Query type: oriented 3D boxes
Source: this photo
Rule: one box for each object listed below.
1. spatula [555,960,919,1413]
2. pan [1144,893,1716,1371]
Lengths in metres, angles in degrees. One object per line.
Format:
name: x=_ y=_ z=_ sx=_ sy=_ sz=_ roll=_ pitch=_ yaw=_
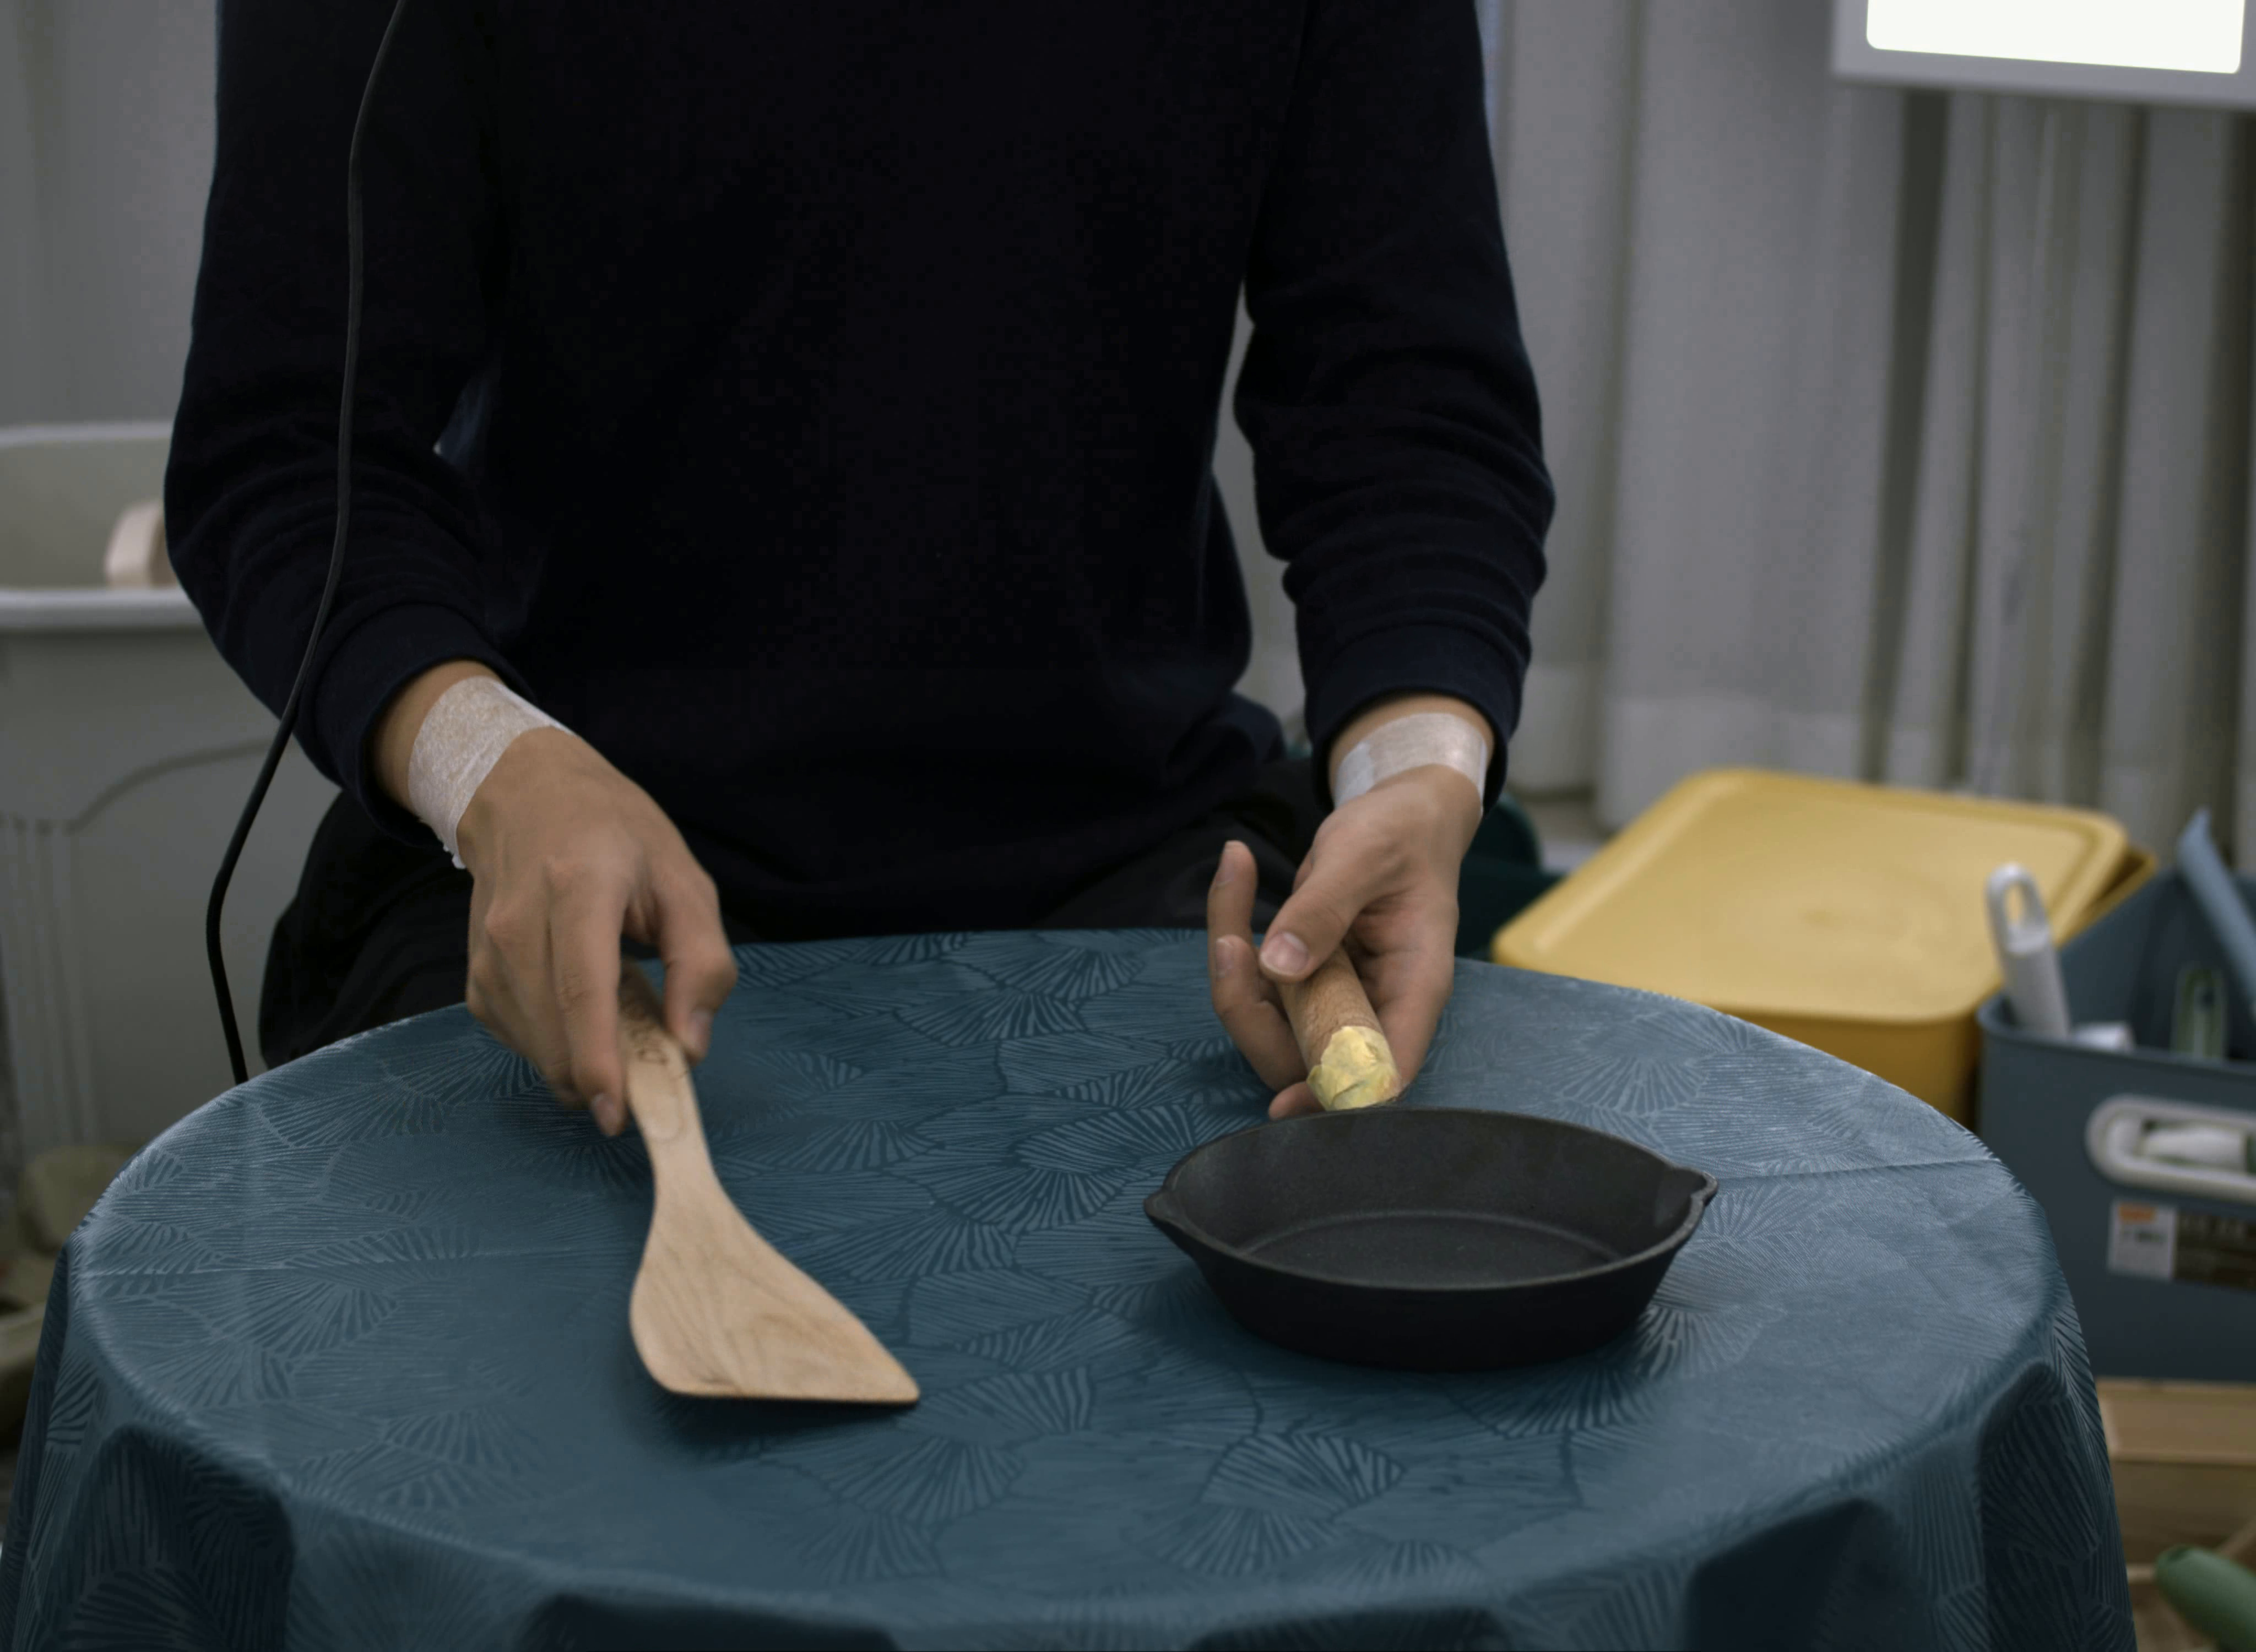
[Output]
spatula: x=-0.131 y=0.102 z=1.563 sx=0.080 sy=0.016 sz=0.324 roll=12 pitch=18 yaw=-20
pan: x=0.079 y=0.090 z=1.610 sx=0.169 sy=0.050 sz=0.321 roll=-1 pitch=17 yaw=-6
